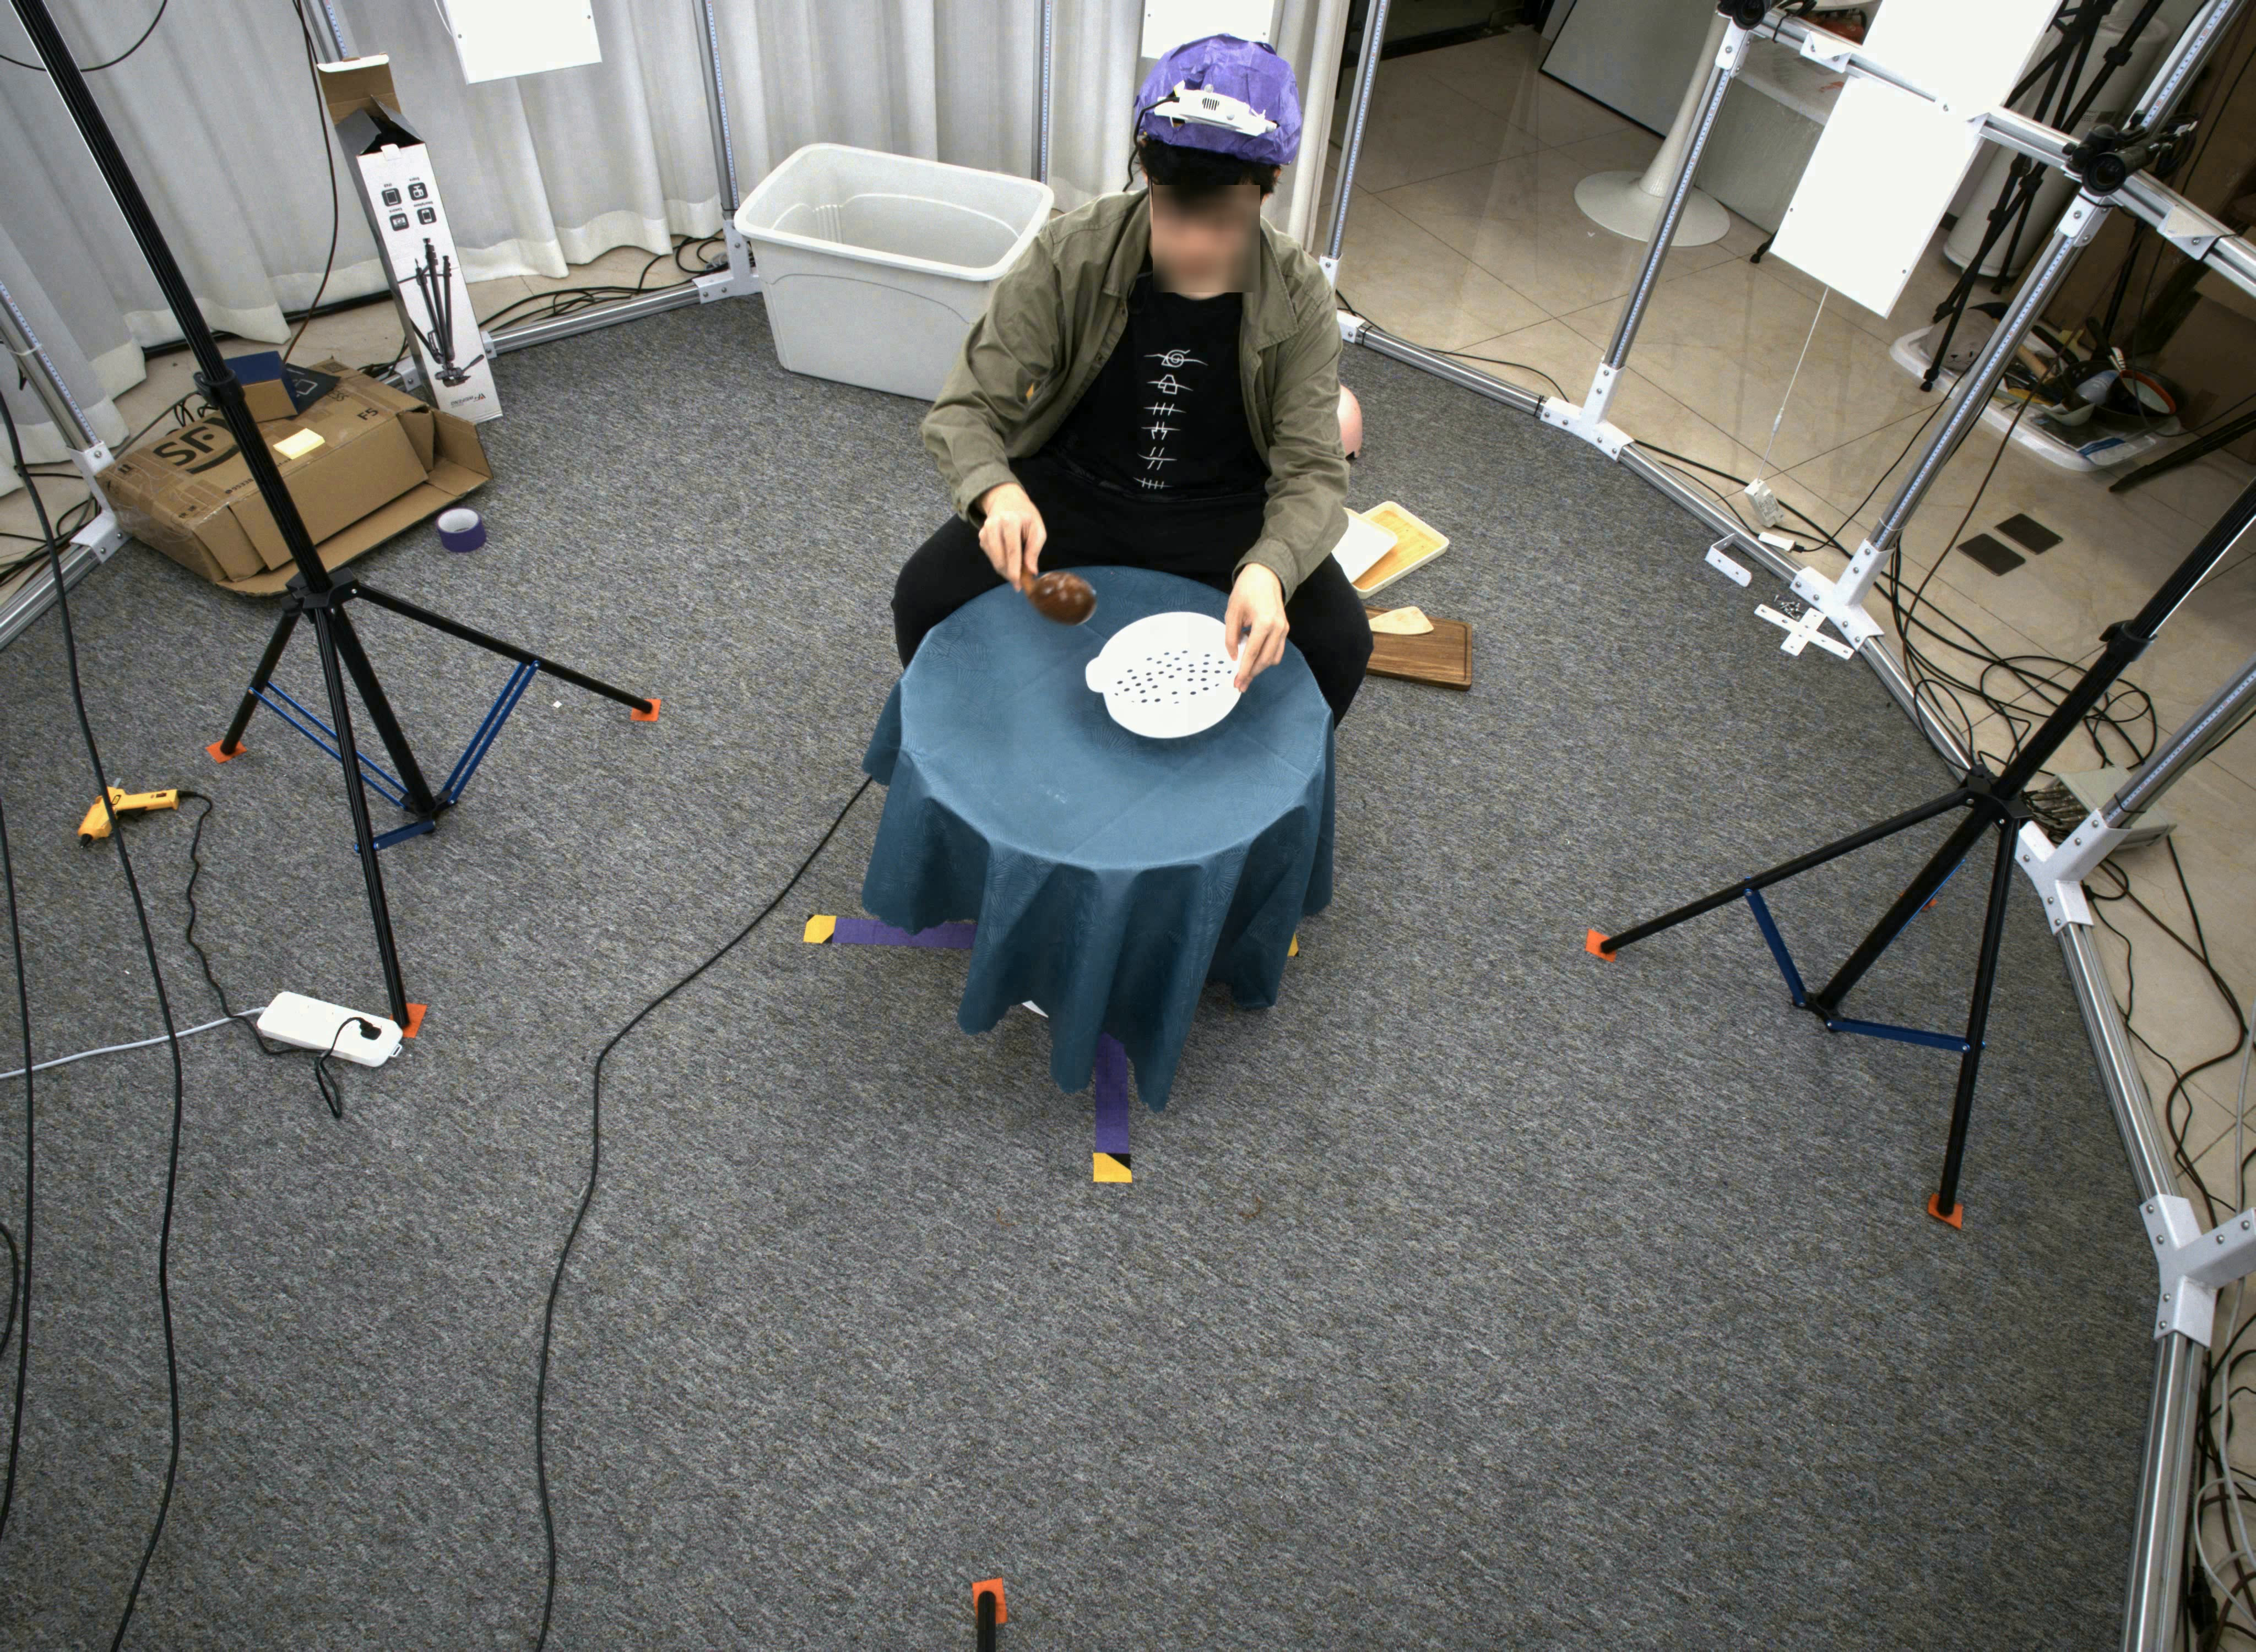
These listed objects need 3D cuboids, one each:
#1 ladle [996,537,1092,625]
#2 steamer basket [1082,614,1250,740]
[{"bbox_3d":[-0.113,-0.336,1.662,0.076,0.080,0.280,-33,36,5],"label":"ladle"},{"bbox_3d":[0.055,-0.204,1.767,0.230,0.067,0.207,-11,46,1],"label":"steamer basket"}]
